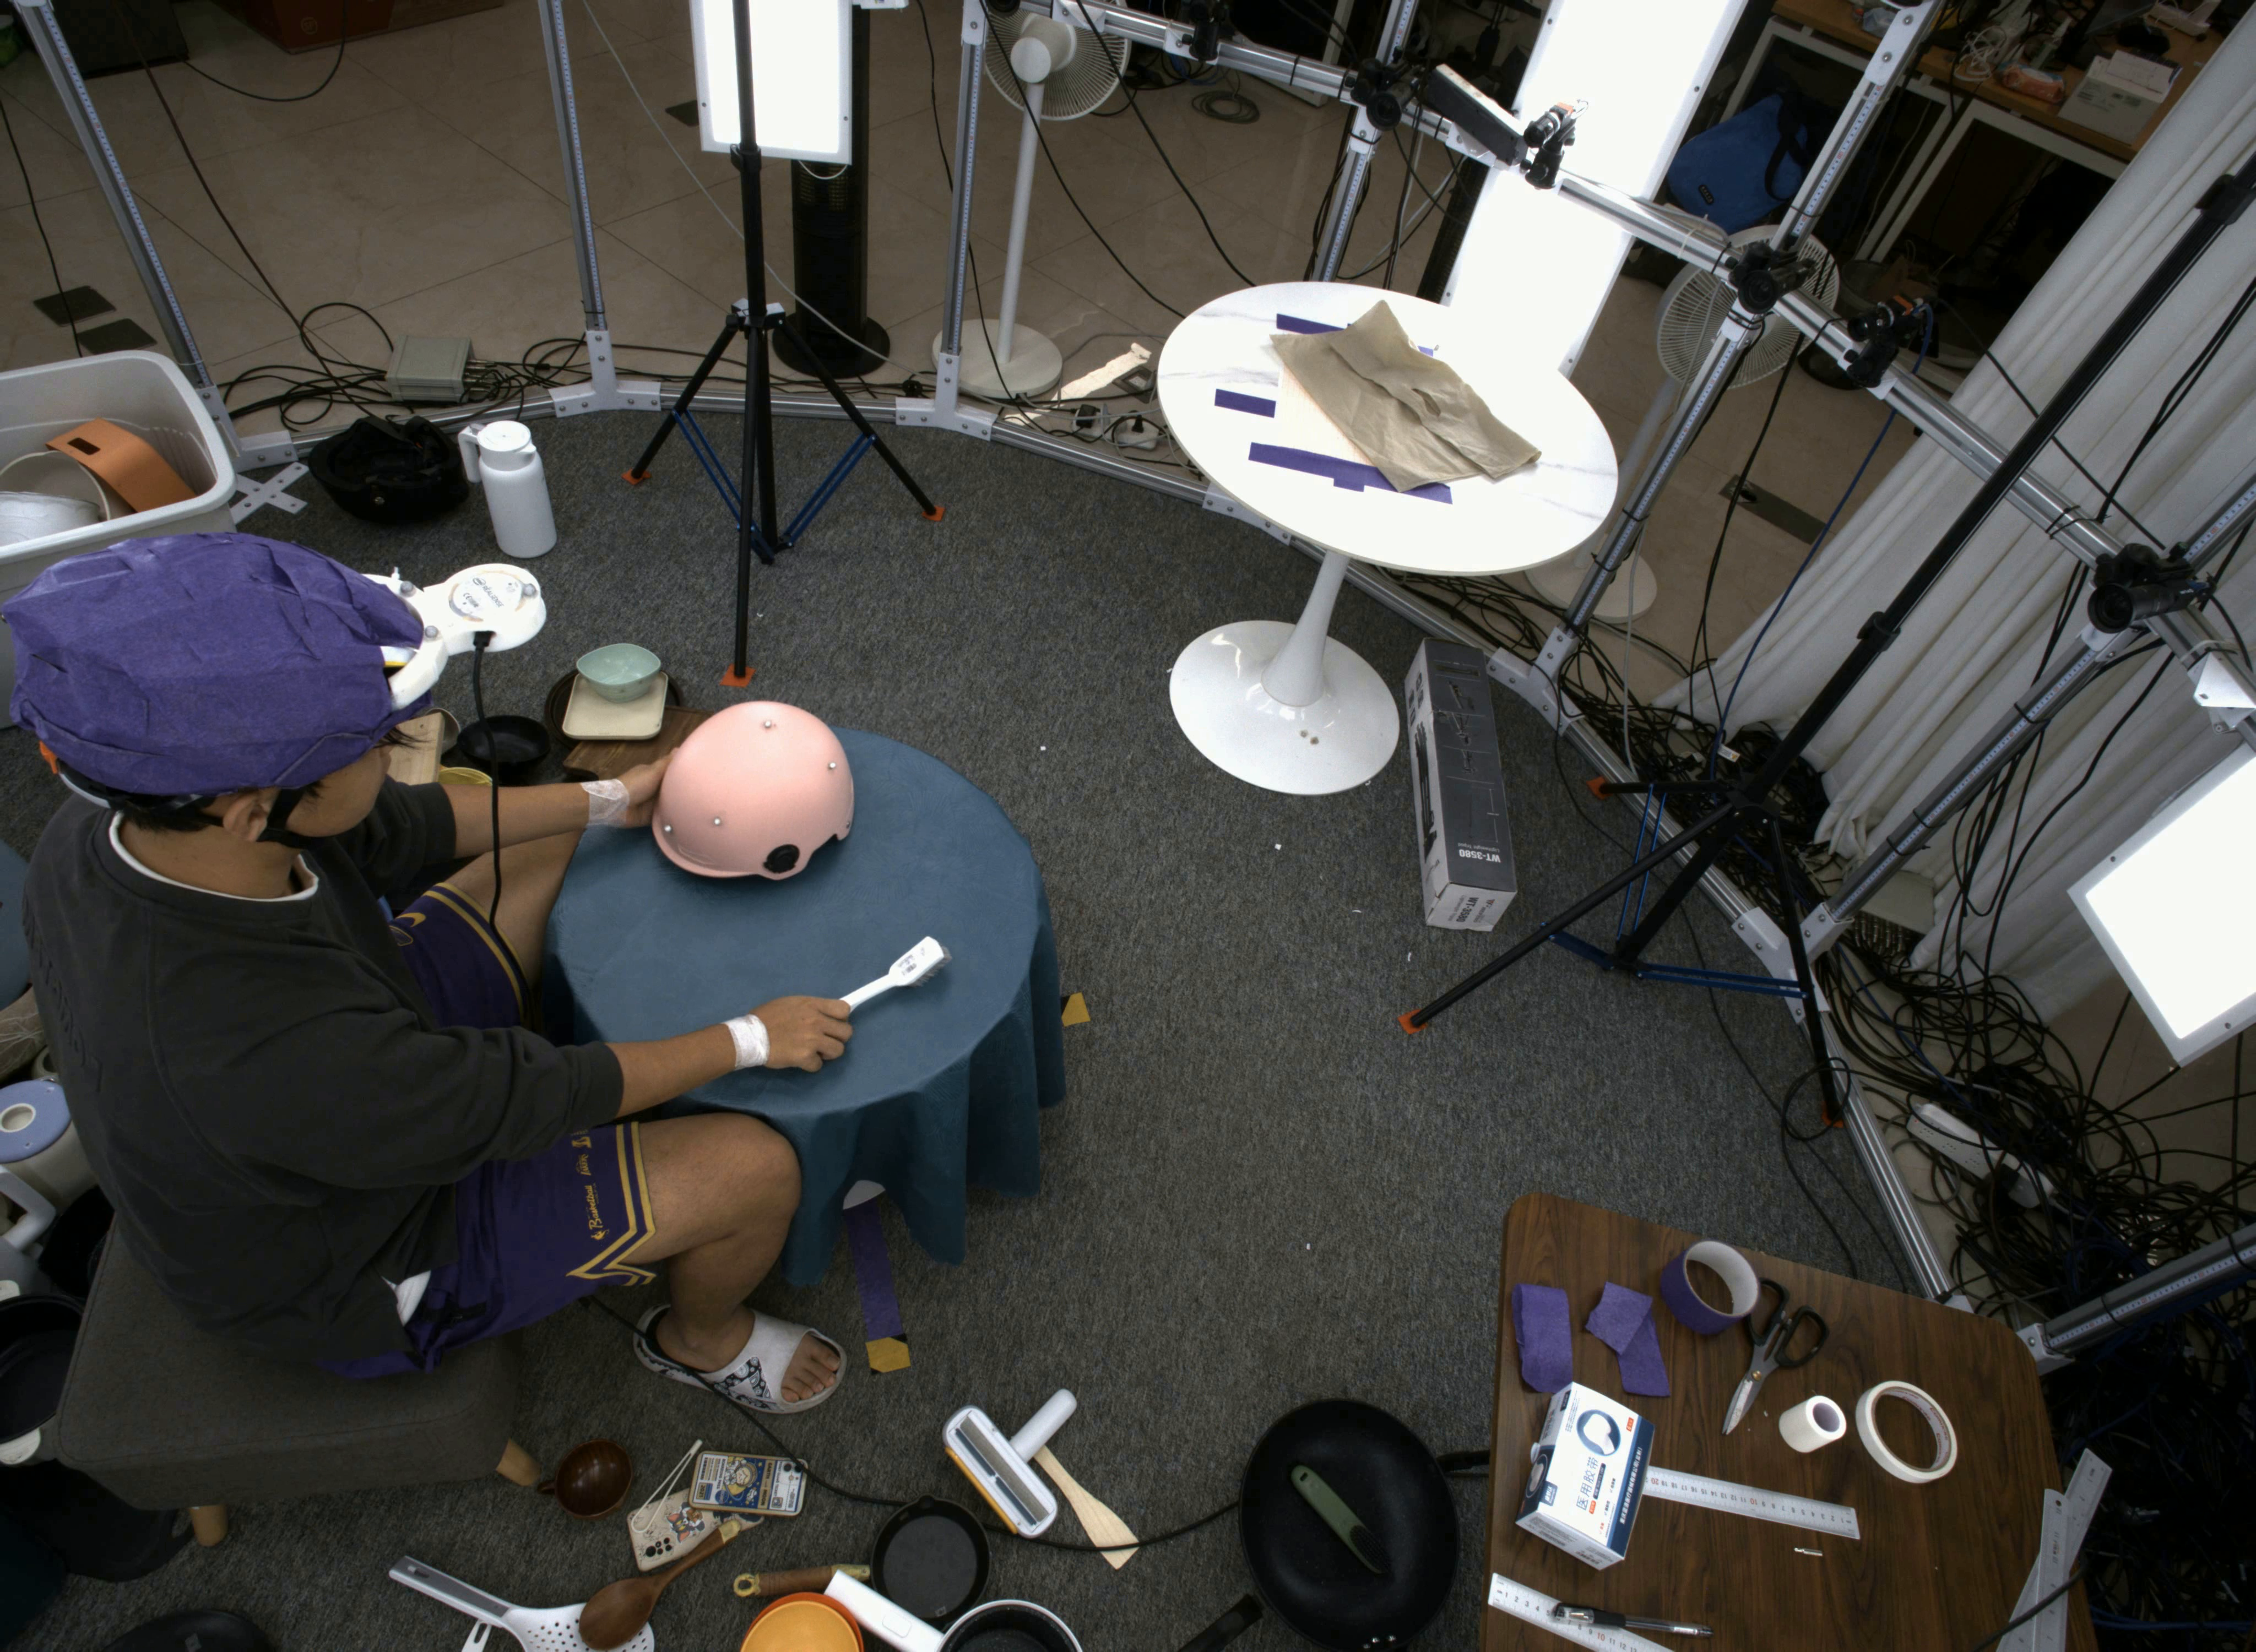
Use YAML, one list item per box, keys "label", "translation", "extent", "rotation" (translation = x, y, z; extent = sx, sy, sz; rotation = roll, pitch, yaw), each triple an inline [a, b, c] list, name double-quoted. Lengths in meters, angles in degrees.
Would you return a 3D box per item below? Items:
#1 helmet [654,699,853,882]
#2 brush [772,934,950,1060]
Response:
- label: "helmet"
  translation: [-0.481, -0.063, 1.654]
  extent: [0.267, 0.162, 0.229]
  rotation: [-32, 67, -32]
- label: "brush"
  translation: [-0.323, 0.211, 1.583]
  extent: [0.243, 0.051, 0.033]
  rotation: [-35, 67, -18]
